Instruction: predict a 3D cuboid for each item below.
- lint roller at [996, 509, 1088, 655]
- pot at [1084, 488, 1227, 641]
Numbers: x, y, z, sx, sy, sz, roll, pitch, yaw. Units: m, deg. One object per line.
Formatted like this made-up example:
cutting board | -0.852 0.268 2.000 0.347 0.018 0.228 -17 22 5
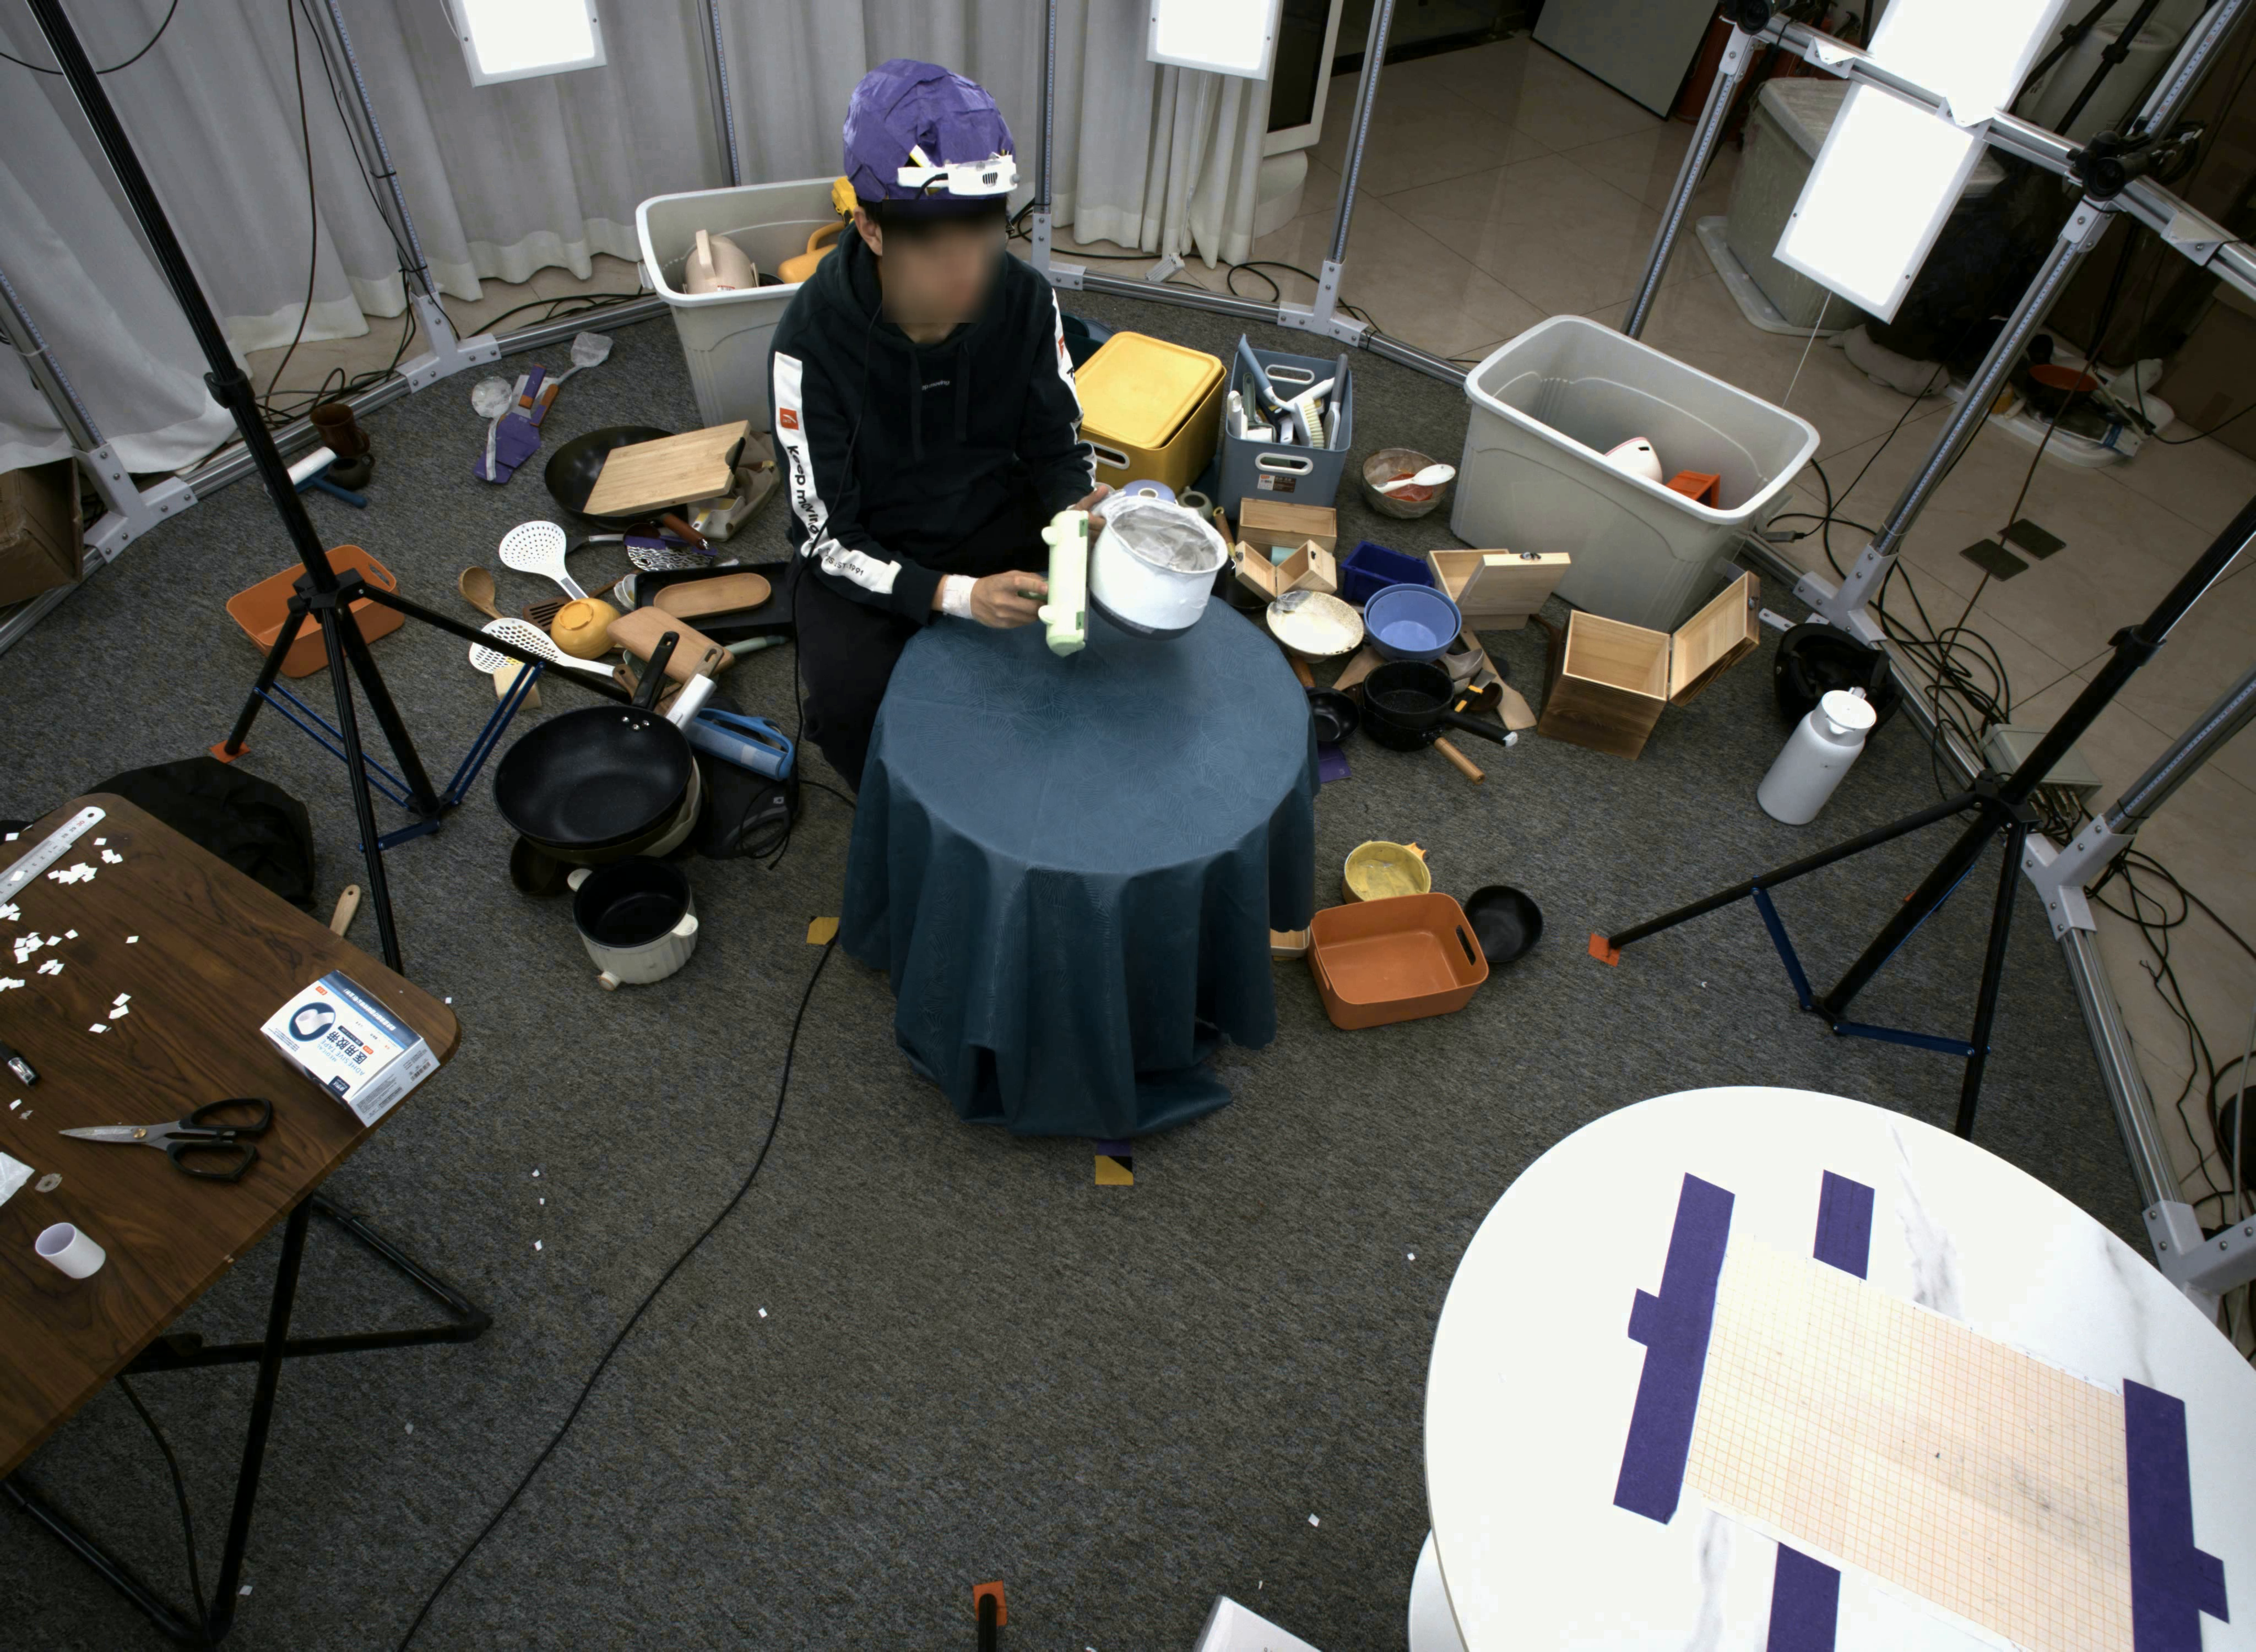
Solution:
lint roller | -0.132 -0.331 1.794 0.183 0.081 0.201 -9 74 34
pot | 0.015 -0.375 1.808 0.179 0.134 0.237 -21 58 -41
